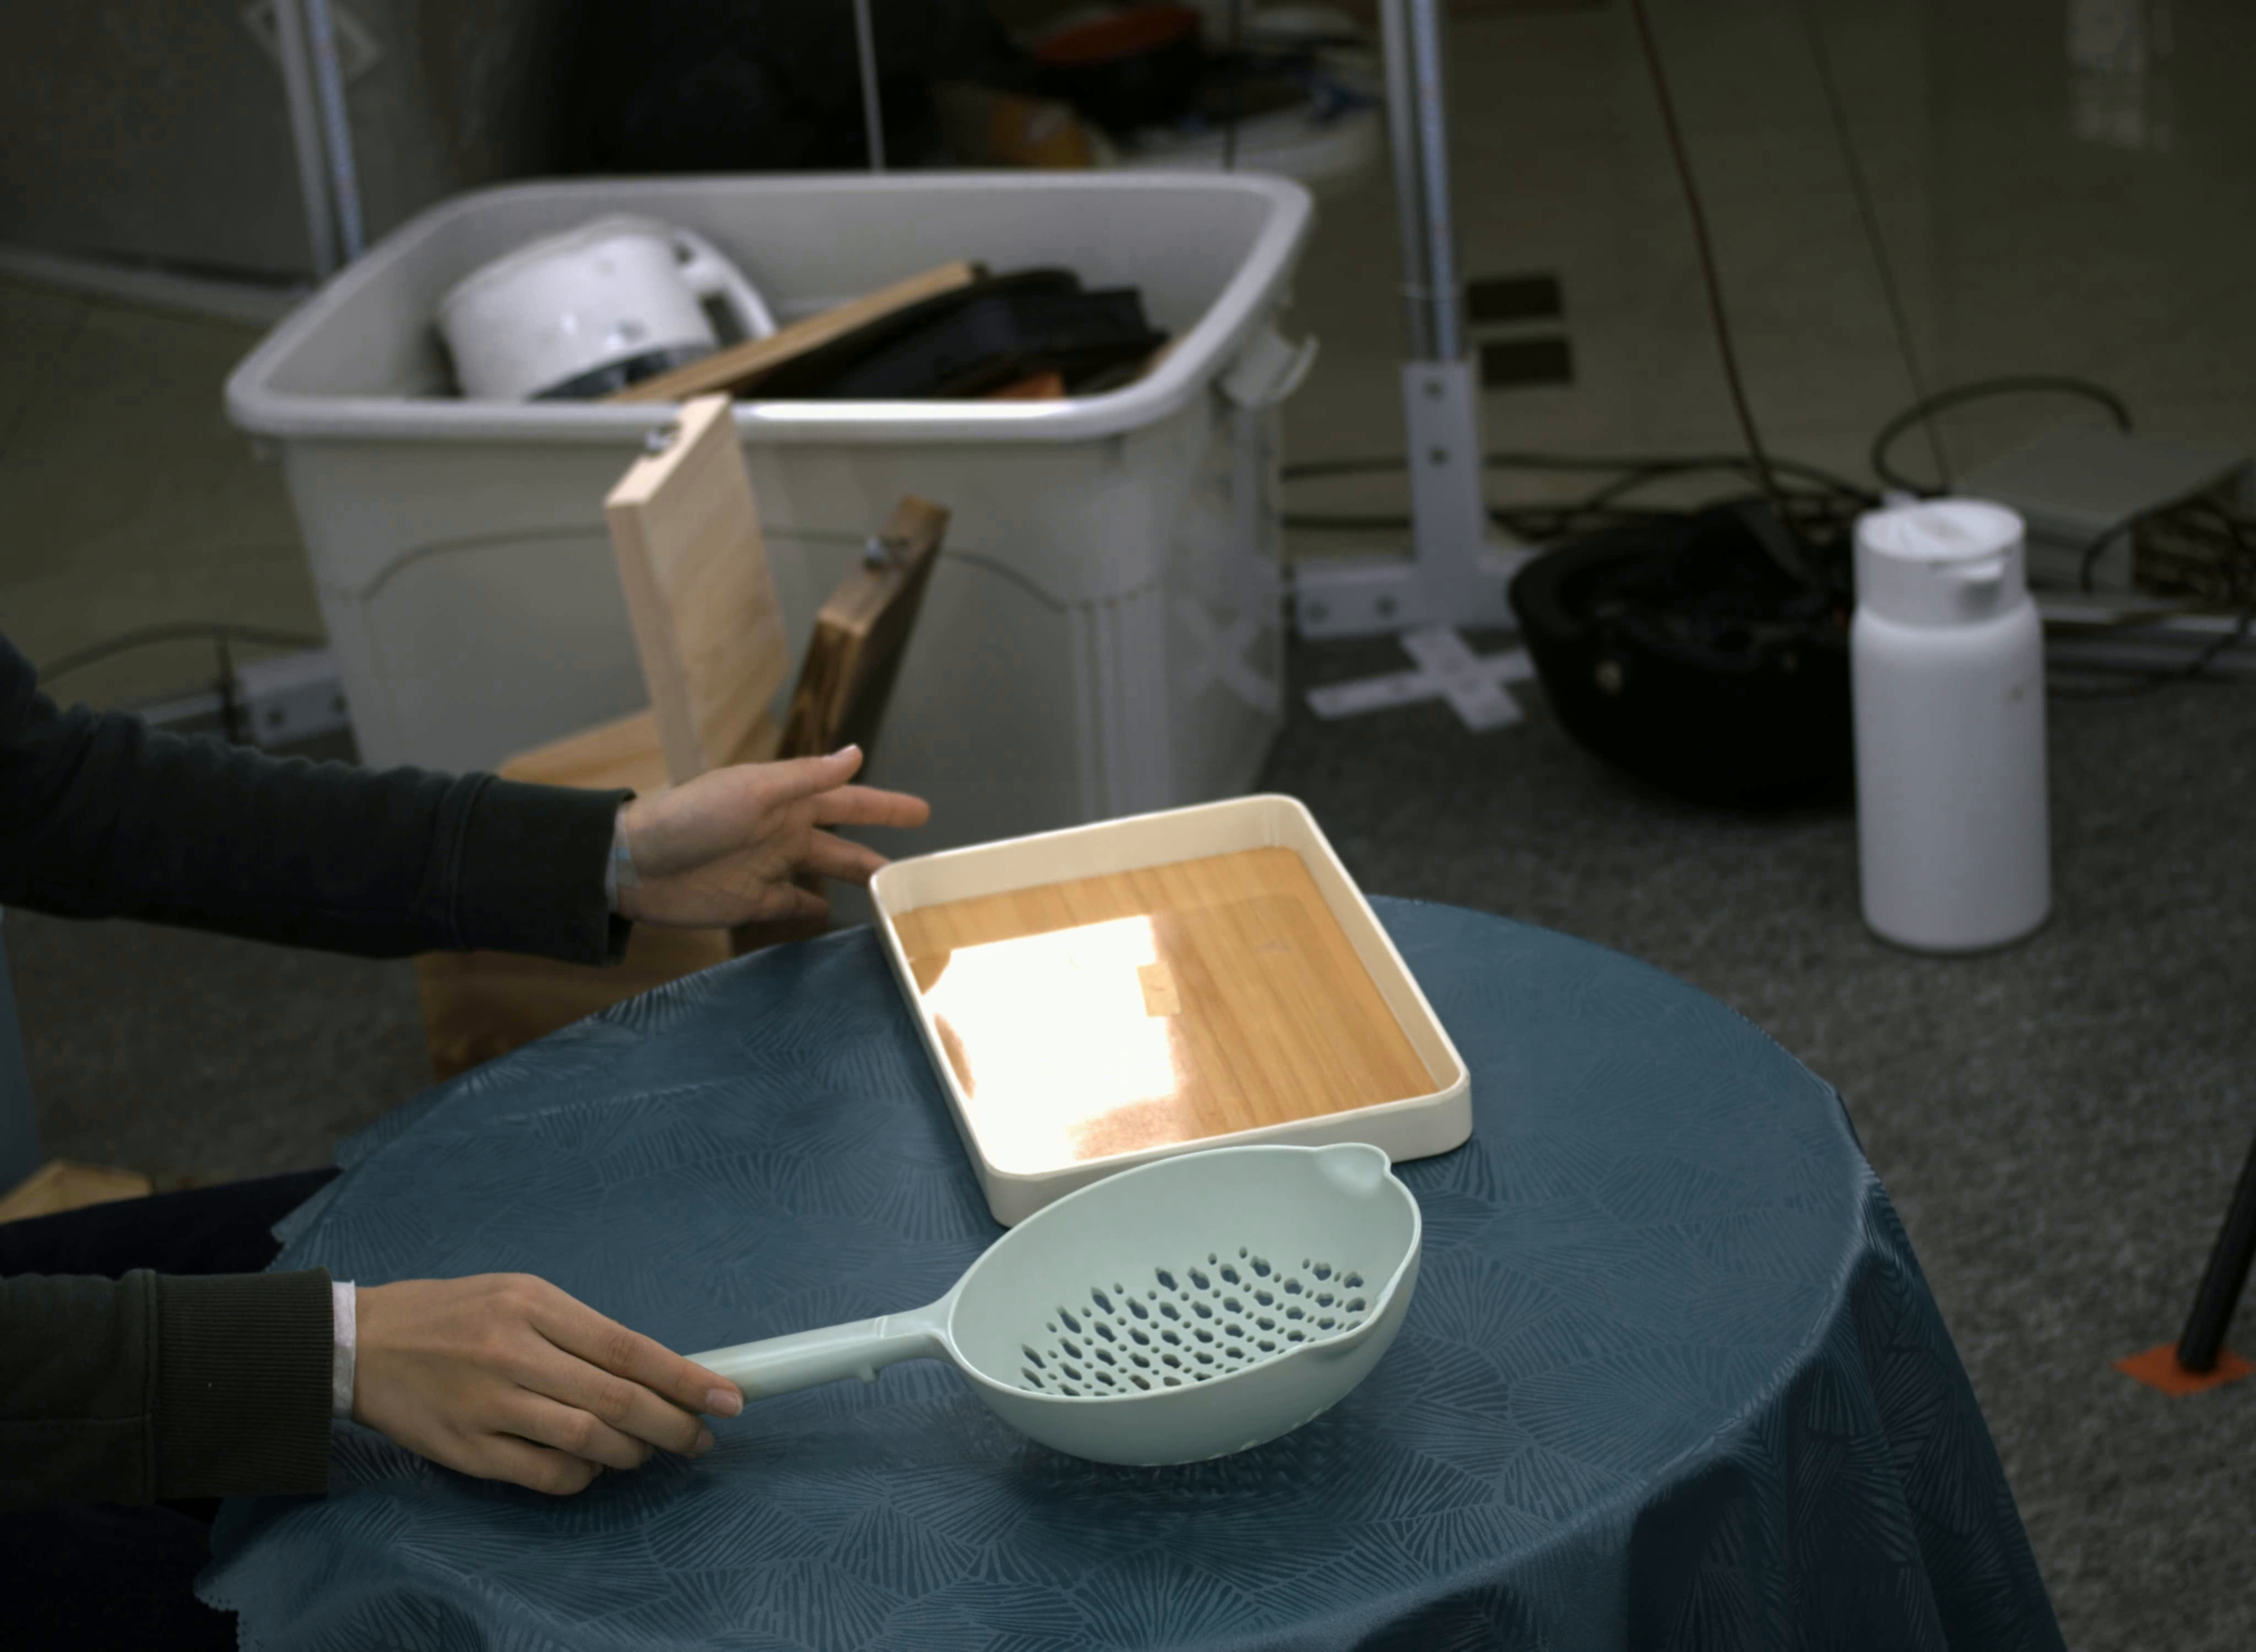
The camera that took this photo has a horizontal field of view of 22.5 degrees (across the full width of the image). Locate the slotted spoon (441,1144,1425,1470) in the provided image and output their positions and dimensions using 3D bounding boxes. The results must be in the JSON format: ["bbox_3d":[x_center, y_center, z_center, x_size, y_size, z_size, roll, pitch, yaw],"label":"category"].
[{"bbox_3d":[-0.072,0.184,1.996,0.358,0.076,0.167,-4,24,6],"label":"slotted spoon"}]

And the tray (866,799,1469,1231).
[{"bbox_3d":[0.011,0.071,2.265,0.191,0.028,0.296,-10,25,-8],"label":"tray"}]
